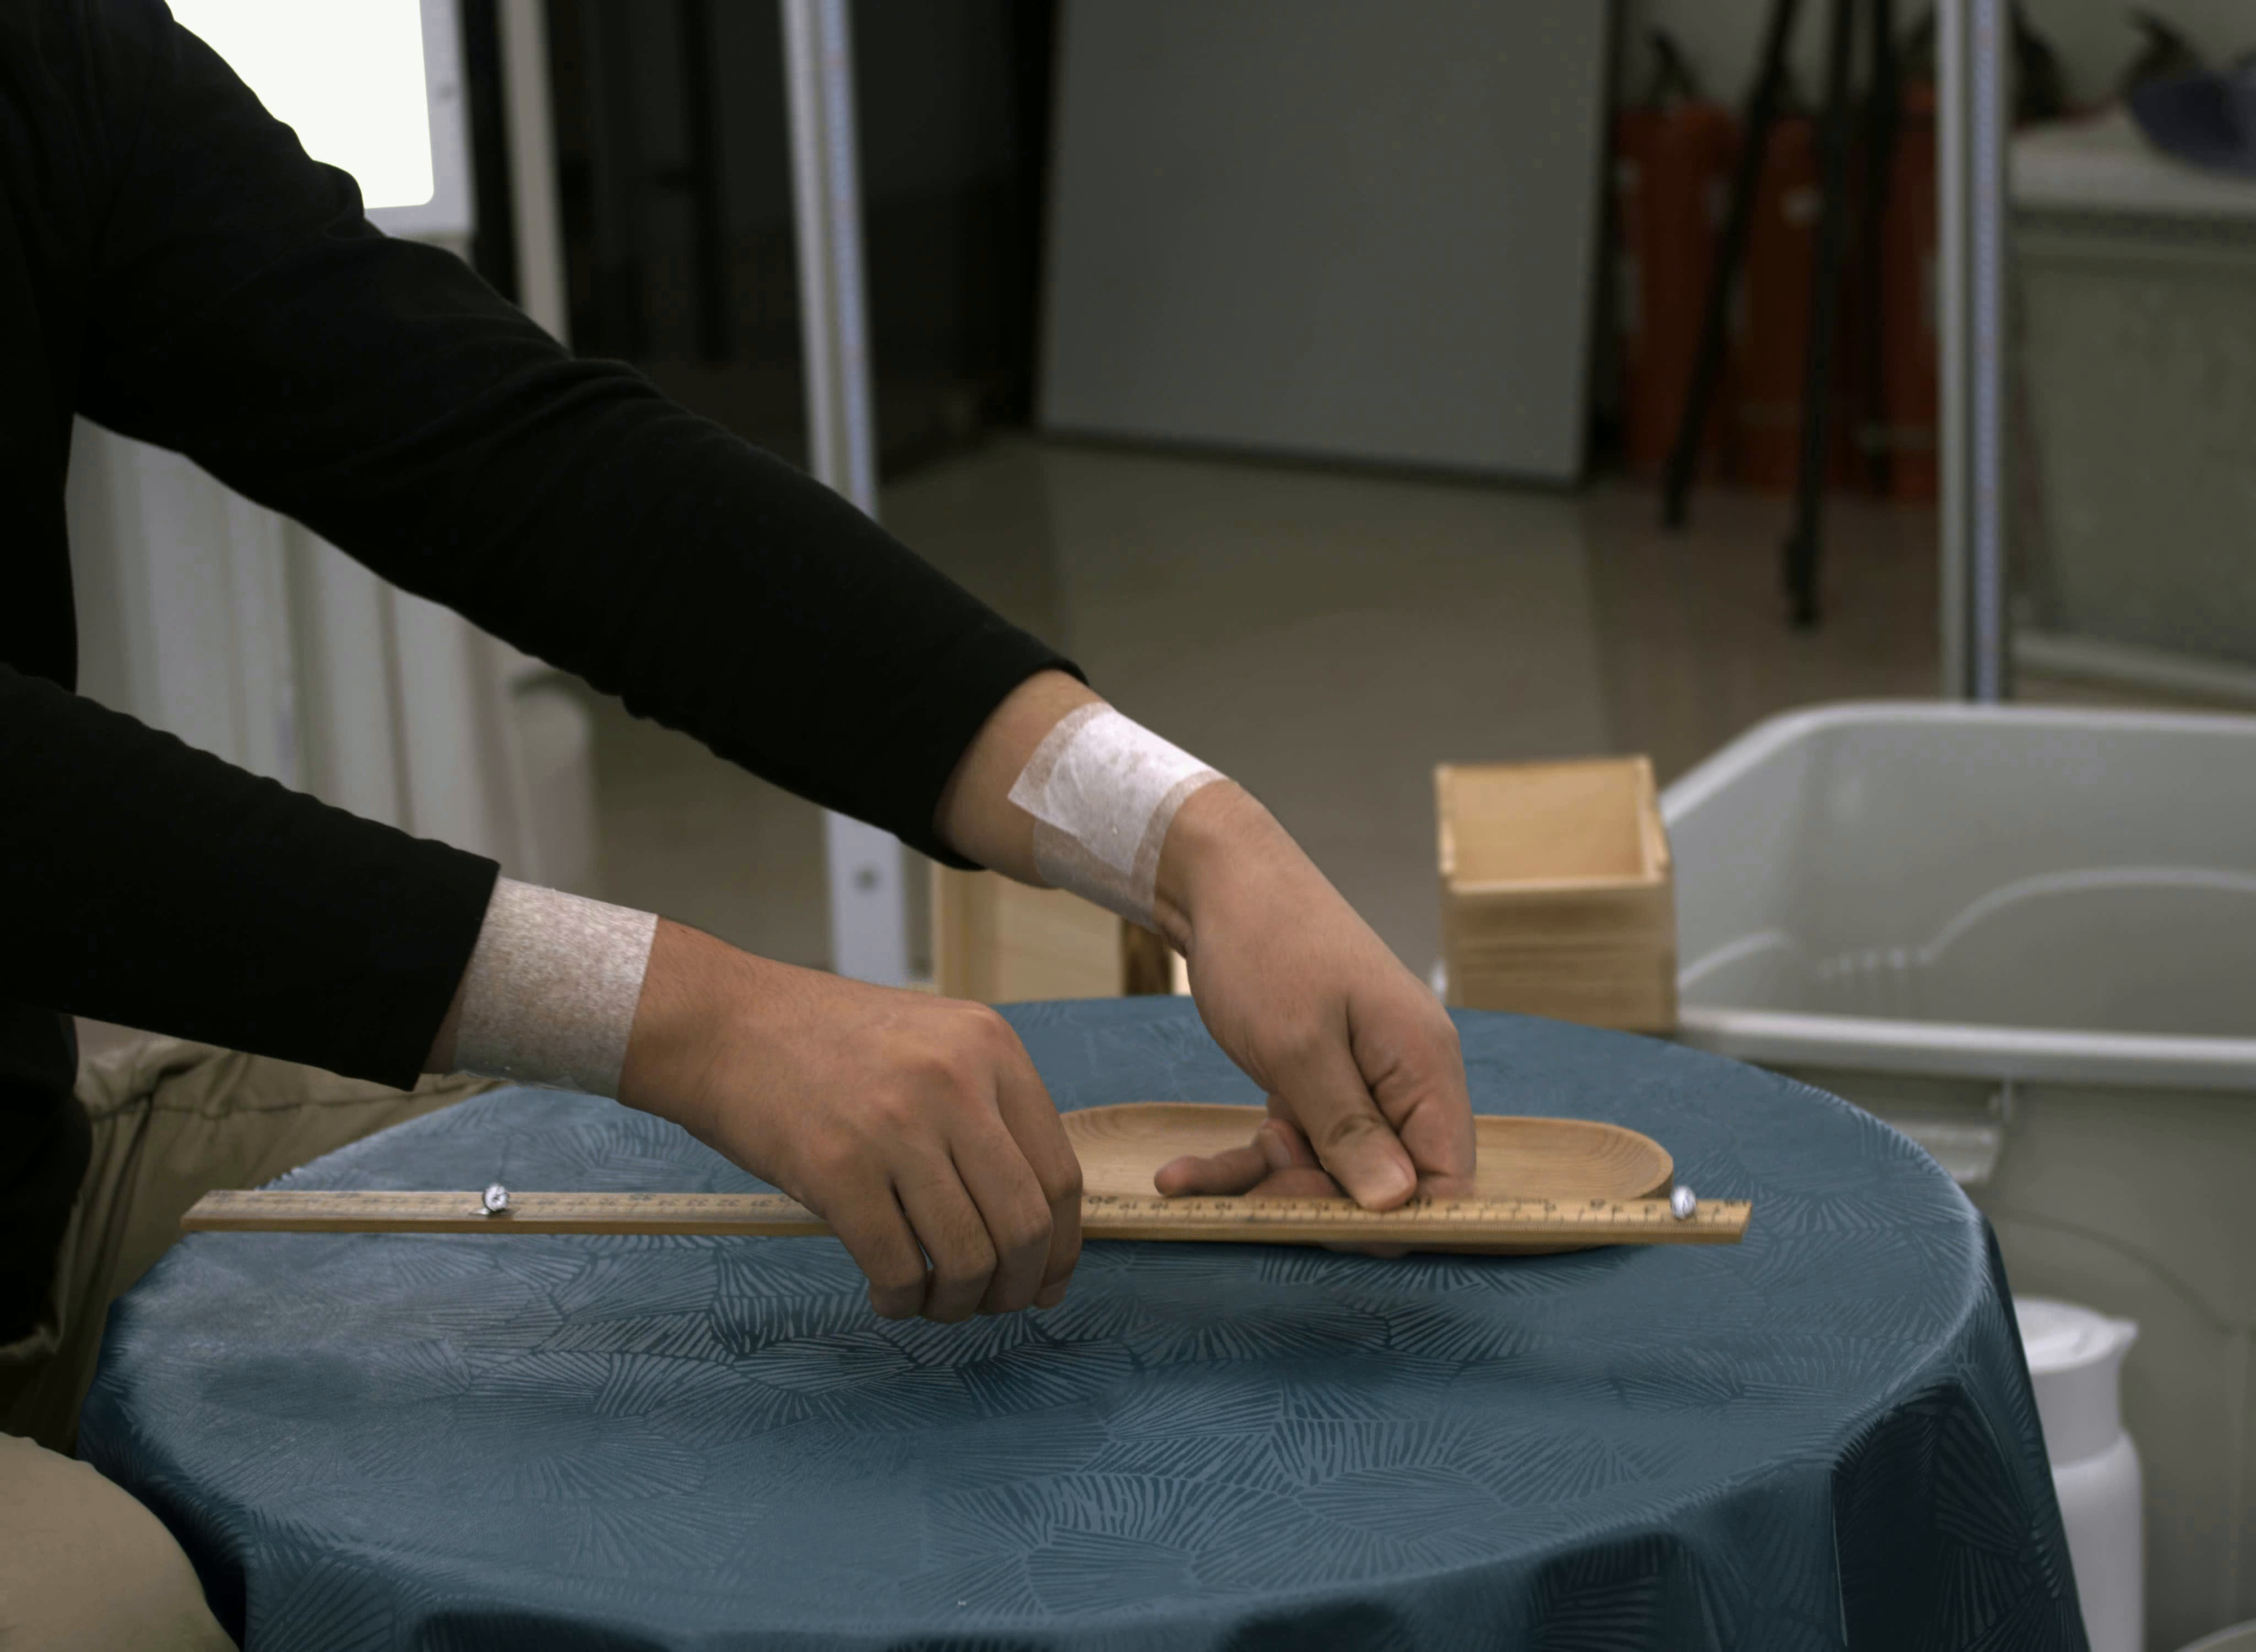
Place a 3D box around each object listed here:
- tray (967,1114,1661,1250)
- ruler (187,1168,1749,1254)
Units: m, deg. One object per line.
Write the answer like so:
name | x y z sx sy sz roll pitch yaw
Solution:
tray | 0.059 0.115 1.742 0.230 0.020 0.101 -1 12 18
ruler | -0.057 0.117 1.638 0.499 0.006 0.026 -3 10 19
